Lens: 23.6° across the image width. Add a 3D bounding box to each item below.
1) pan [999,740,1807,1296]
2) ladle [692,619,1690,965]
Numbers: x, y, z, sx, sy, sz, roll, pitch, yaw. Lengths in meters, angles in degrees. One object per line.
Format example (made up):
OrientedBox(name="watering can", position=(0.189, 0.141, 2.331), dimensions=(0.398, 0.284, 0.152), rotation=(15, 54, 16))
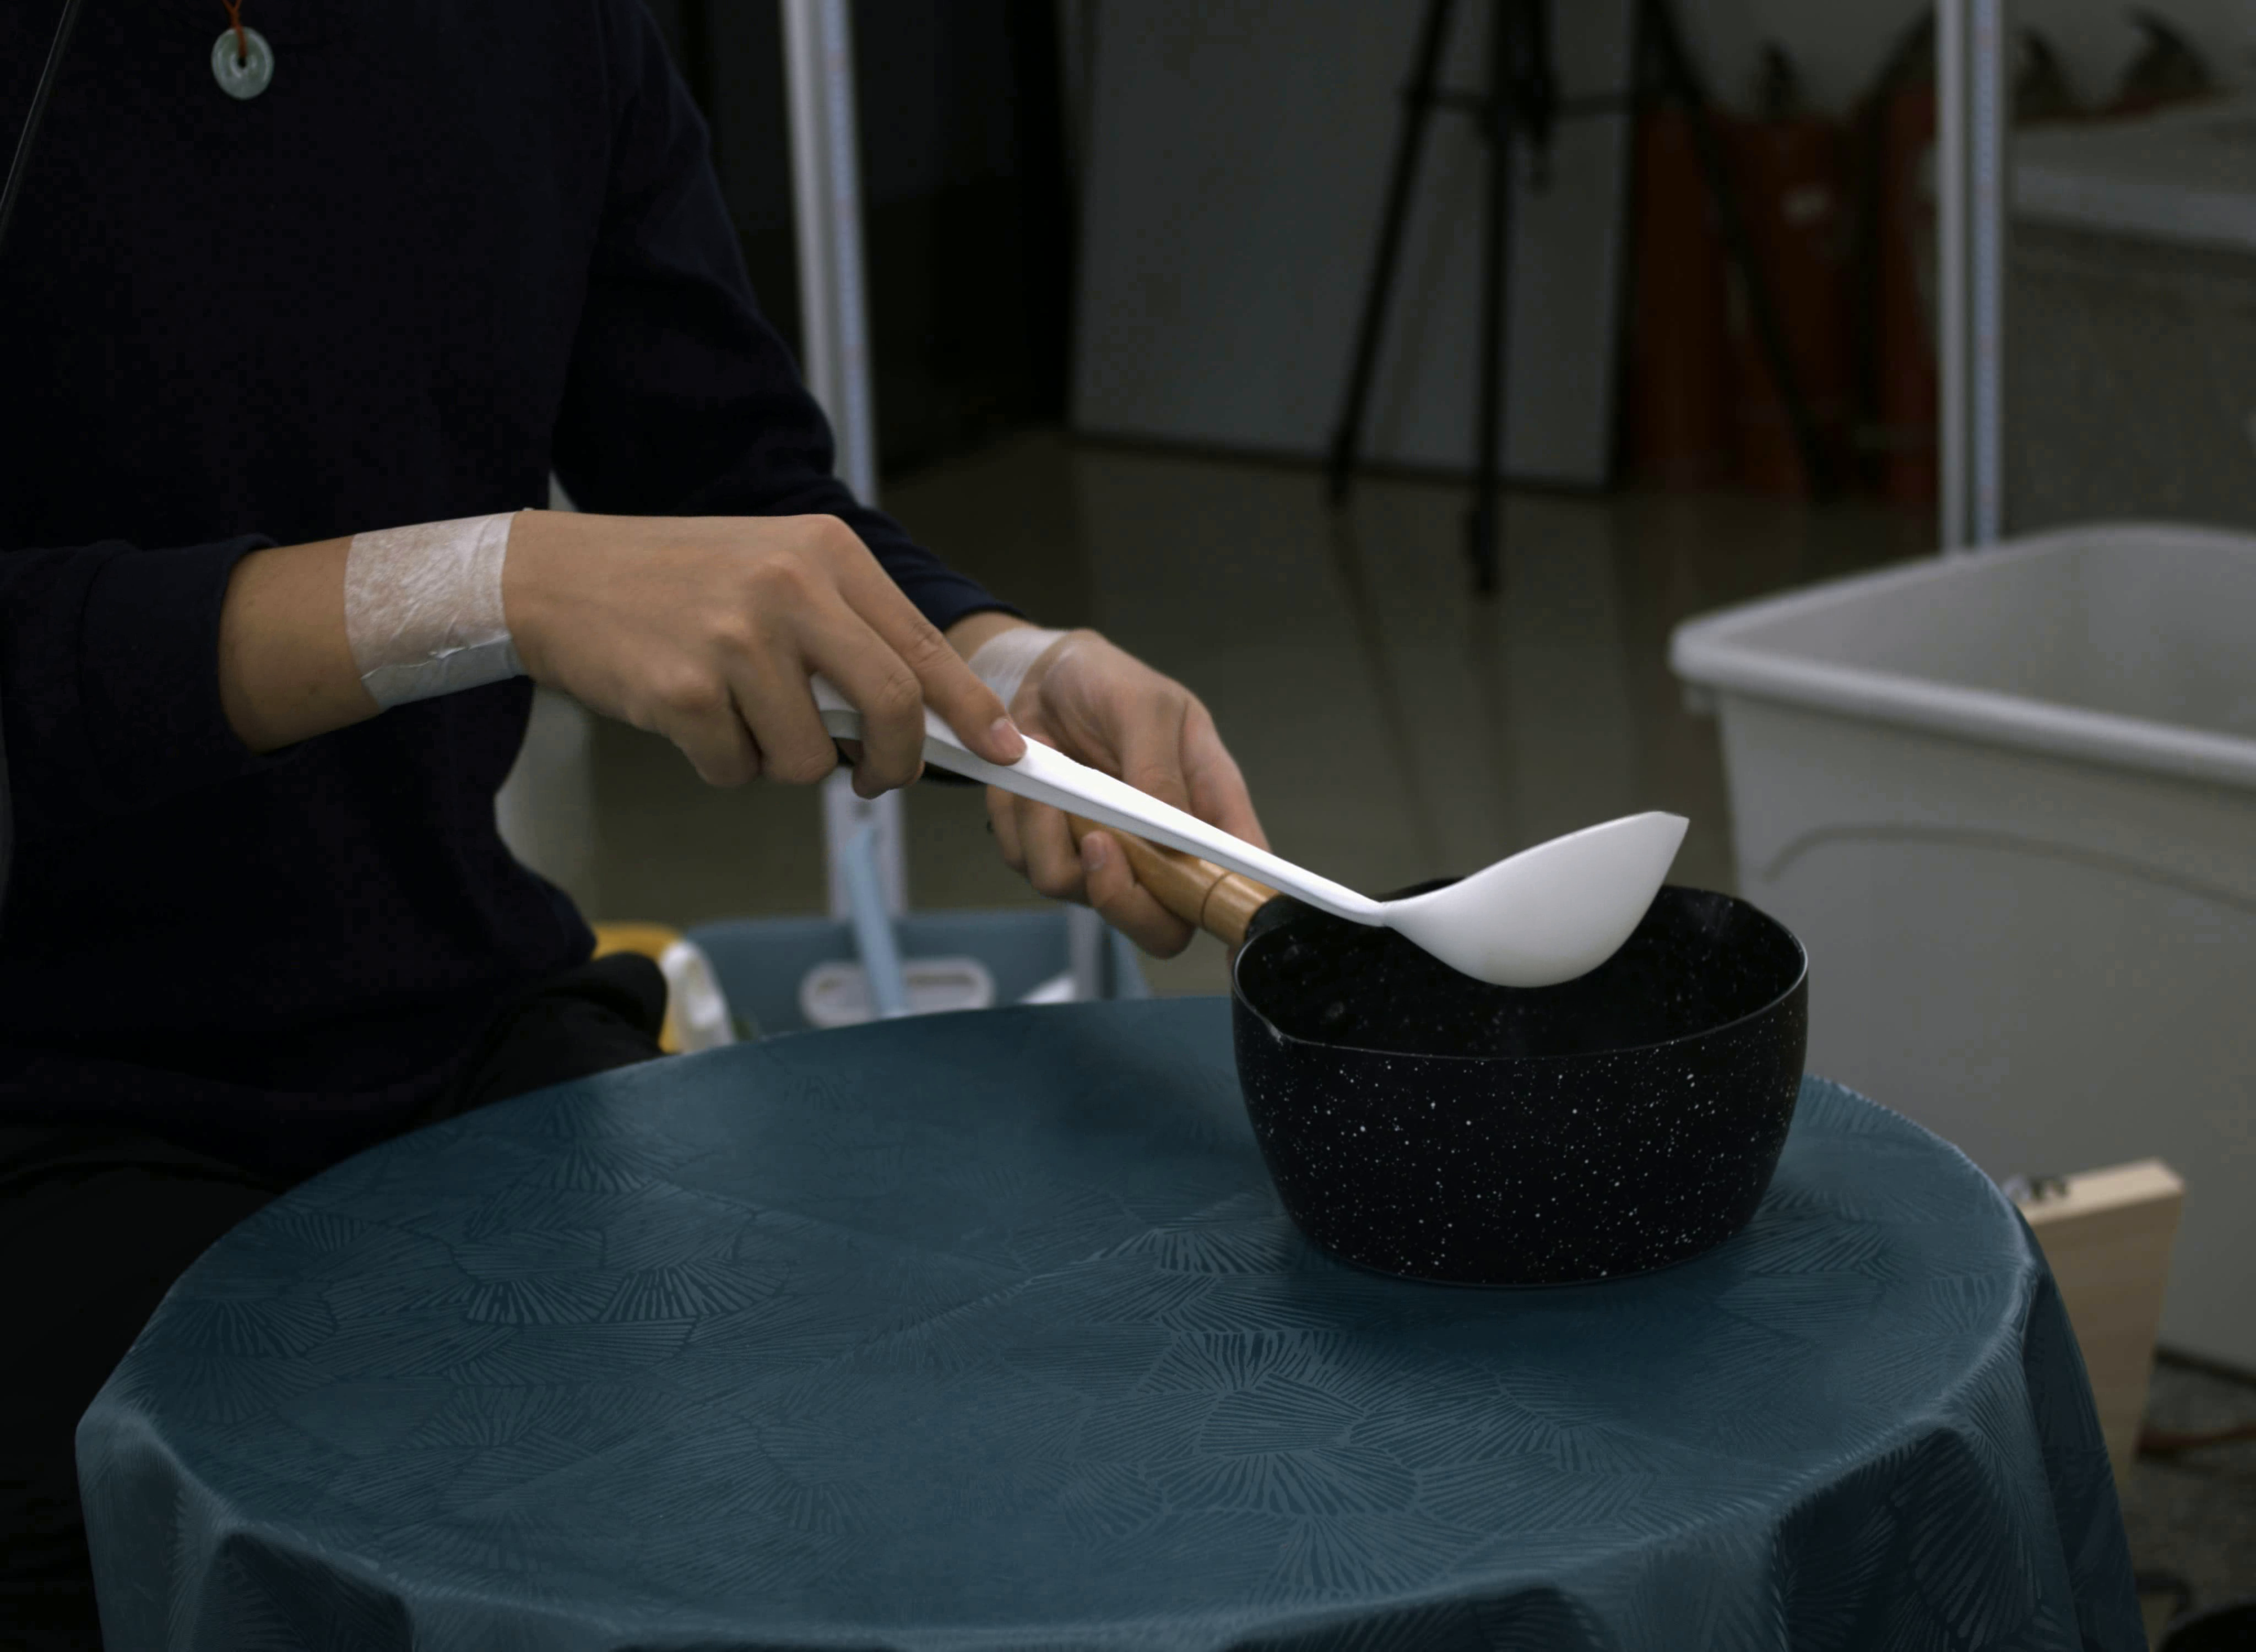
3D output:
OrientedBox(name="pan", position=(0.071, 0.056, 1.763), dimensions=(0.203, 0.109, 0.346), rotation=(-17, 22, -38))
OrientedBox(name="ladle", position=(0.019, -0.022, 1.597), dimensions=(0.290, 0.070, 0.090), rotation=(17, -5, 5))
